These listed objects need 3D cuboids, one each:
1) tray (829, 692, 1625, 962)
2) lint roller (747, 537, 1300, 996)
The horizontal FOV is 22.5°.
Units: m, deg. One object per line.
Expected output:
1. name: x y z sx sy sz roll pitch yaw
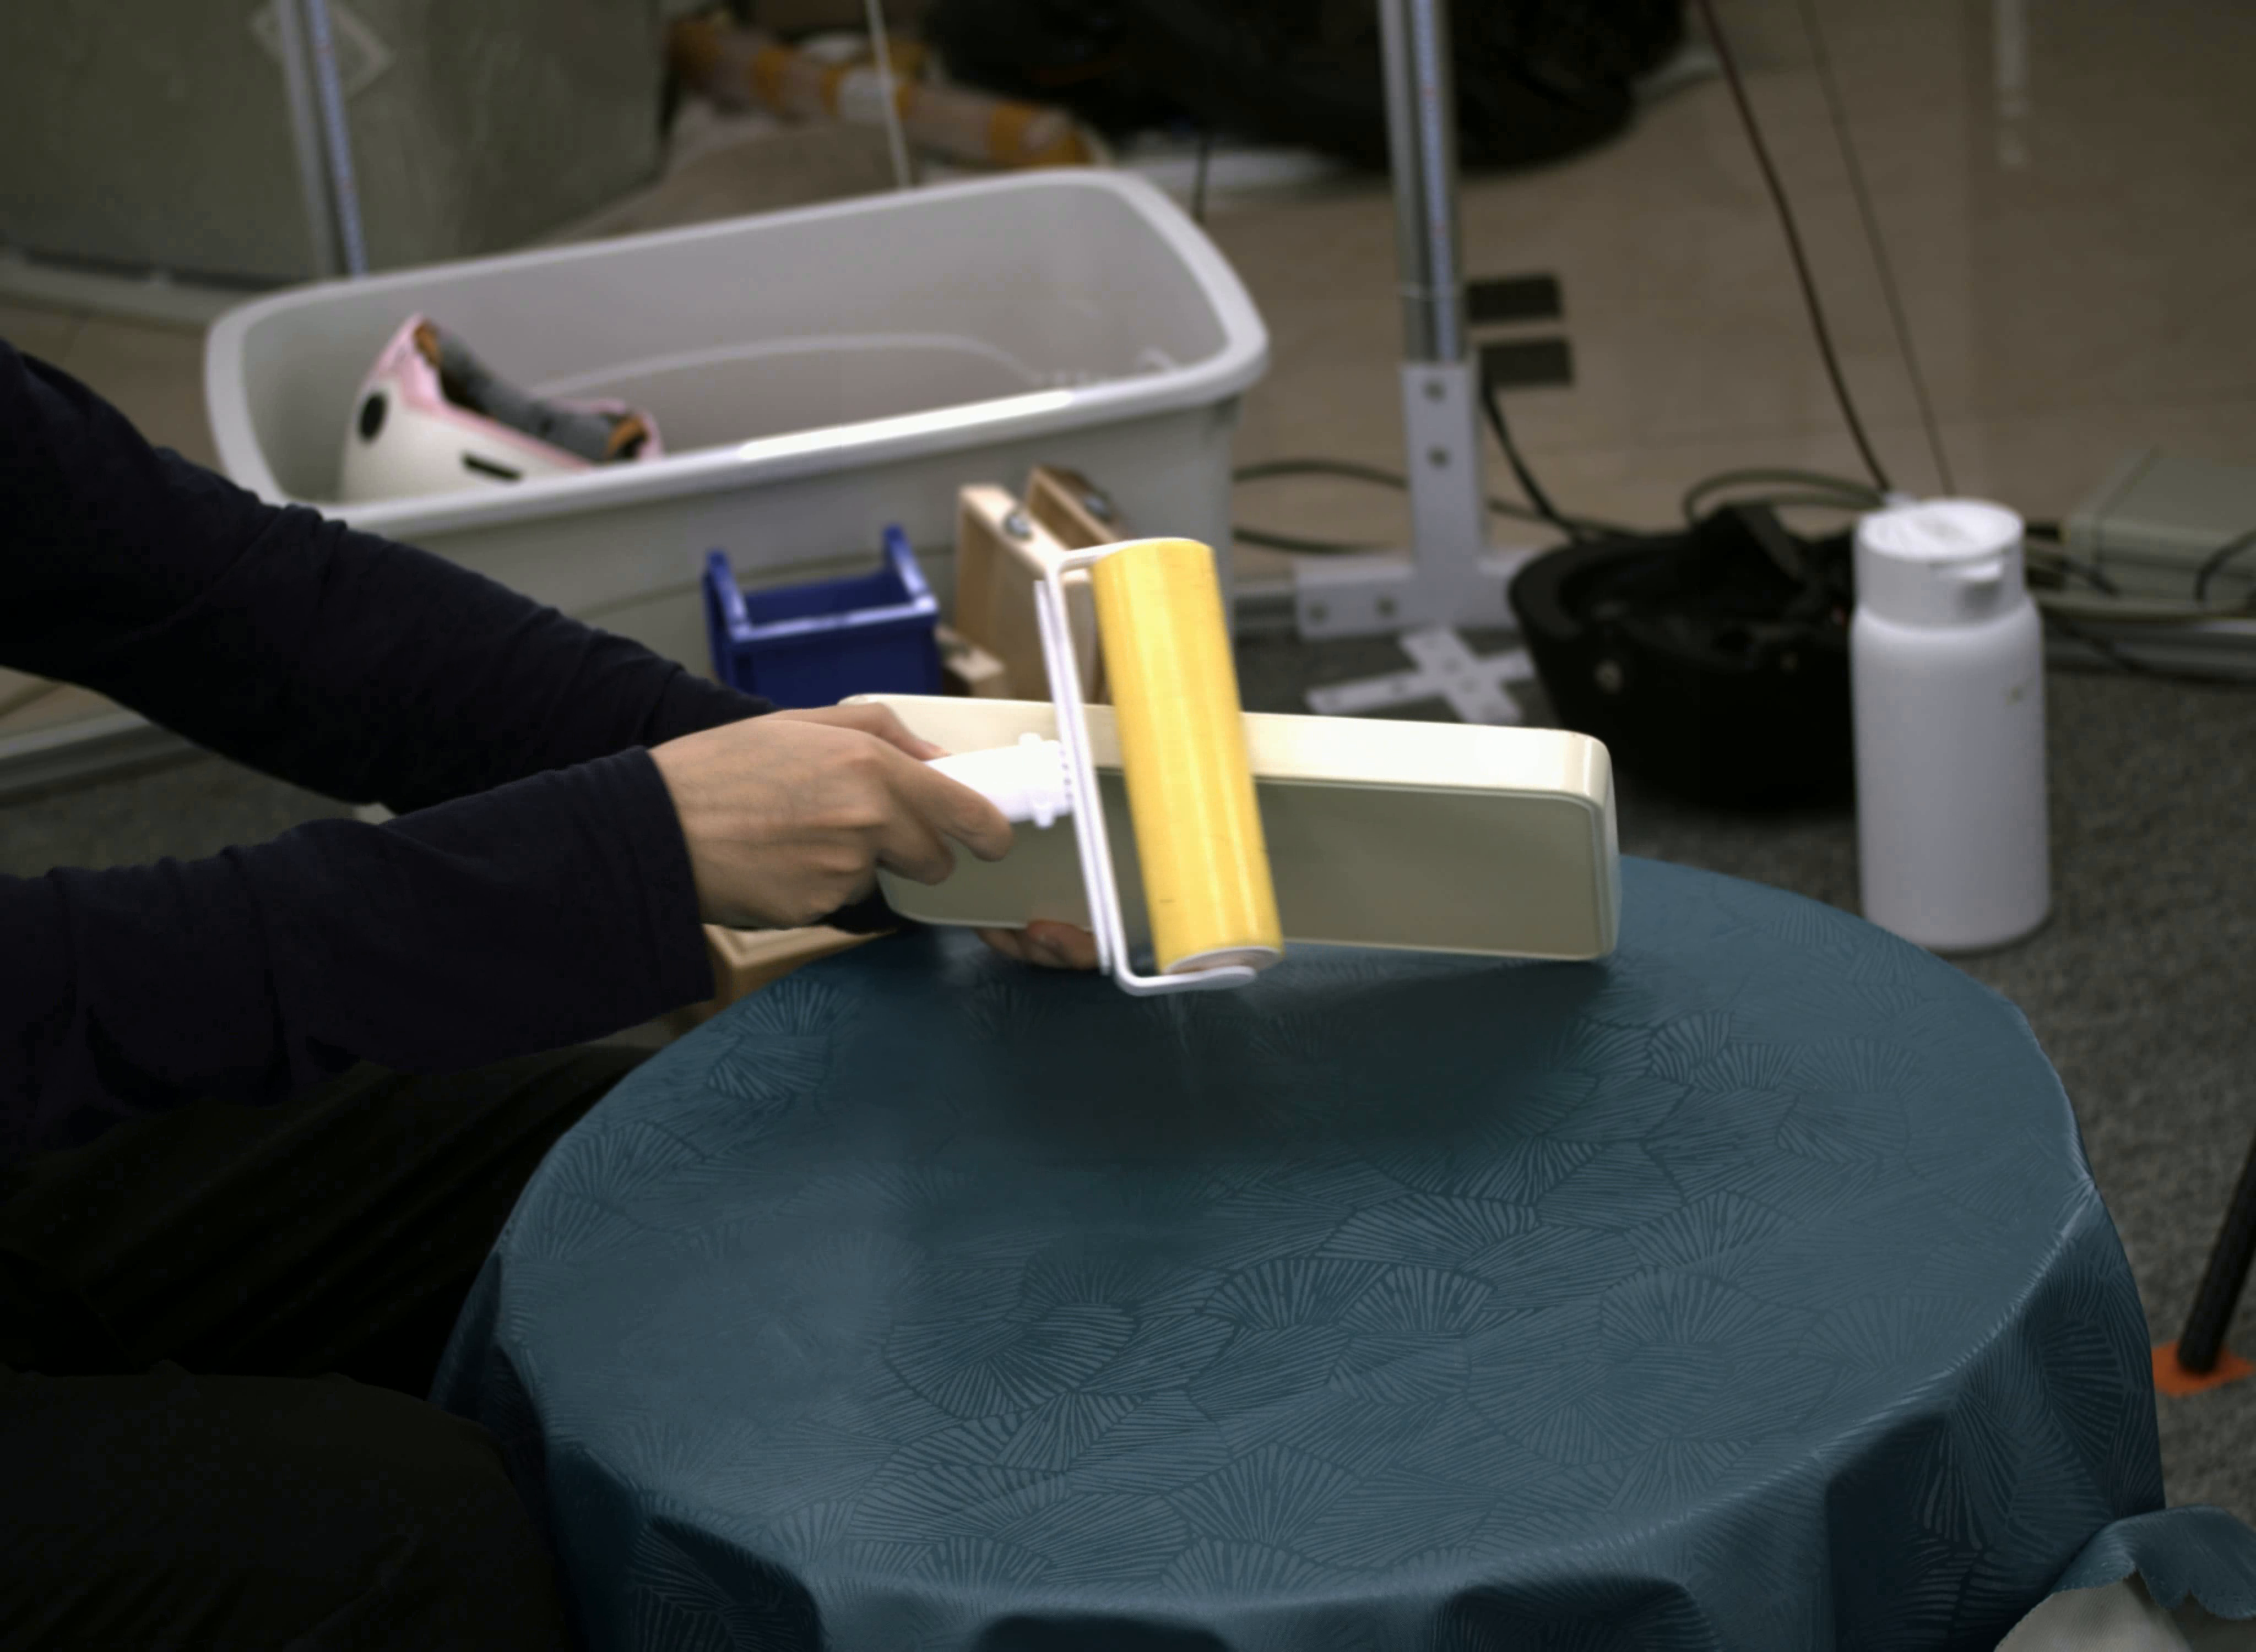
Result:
1. tray: 0.042 0.003 2.223 0.299 0.194 0.027 3 69 8
2. lint roller: -0.044 -0.014 2.093 0.191 0.173 0.052 -7 -15 -15
